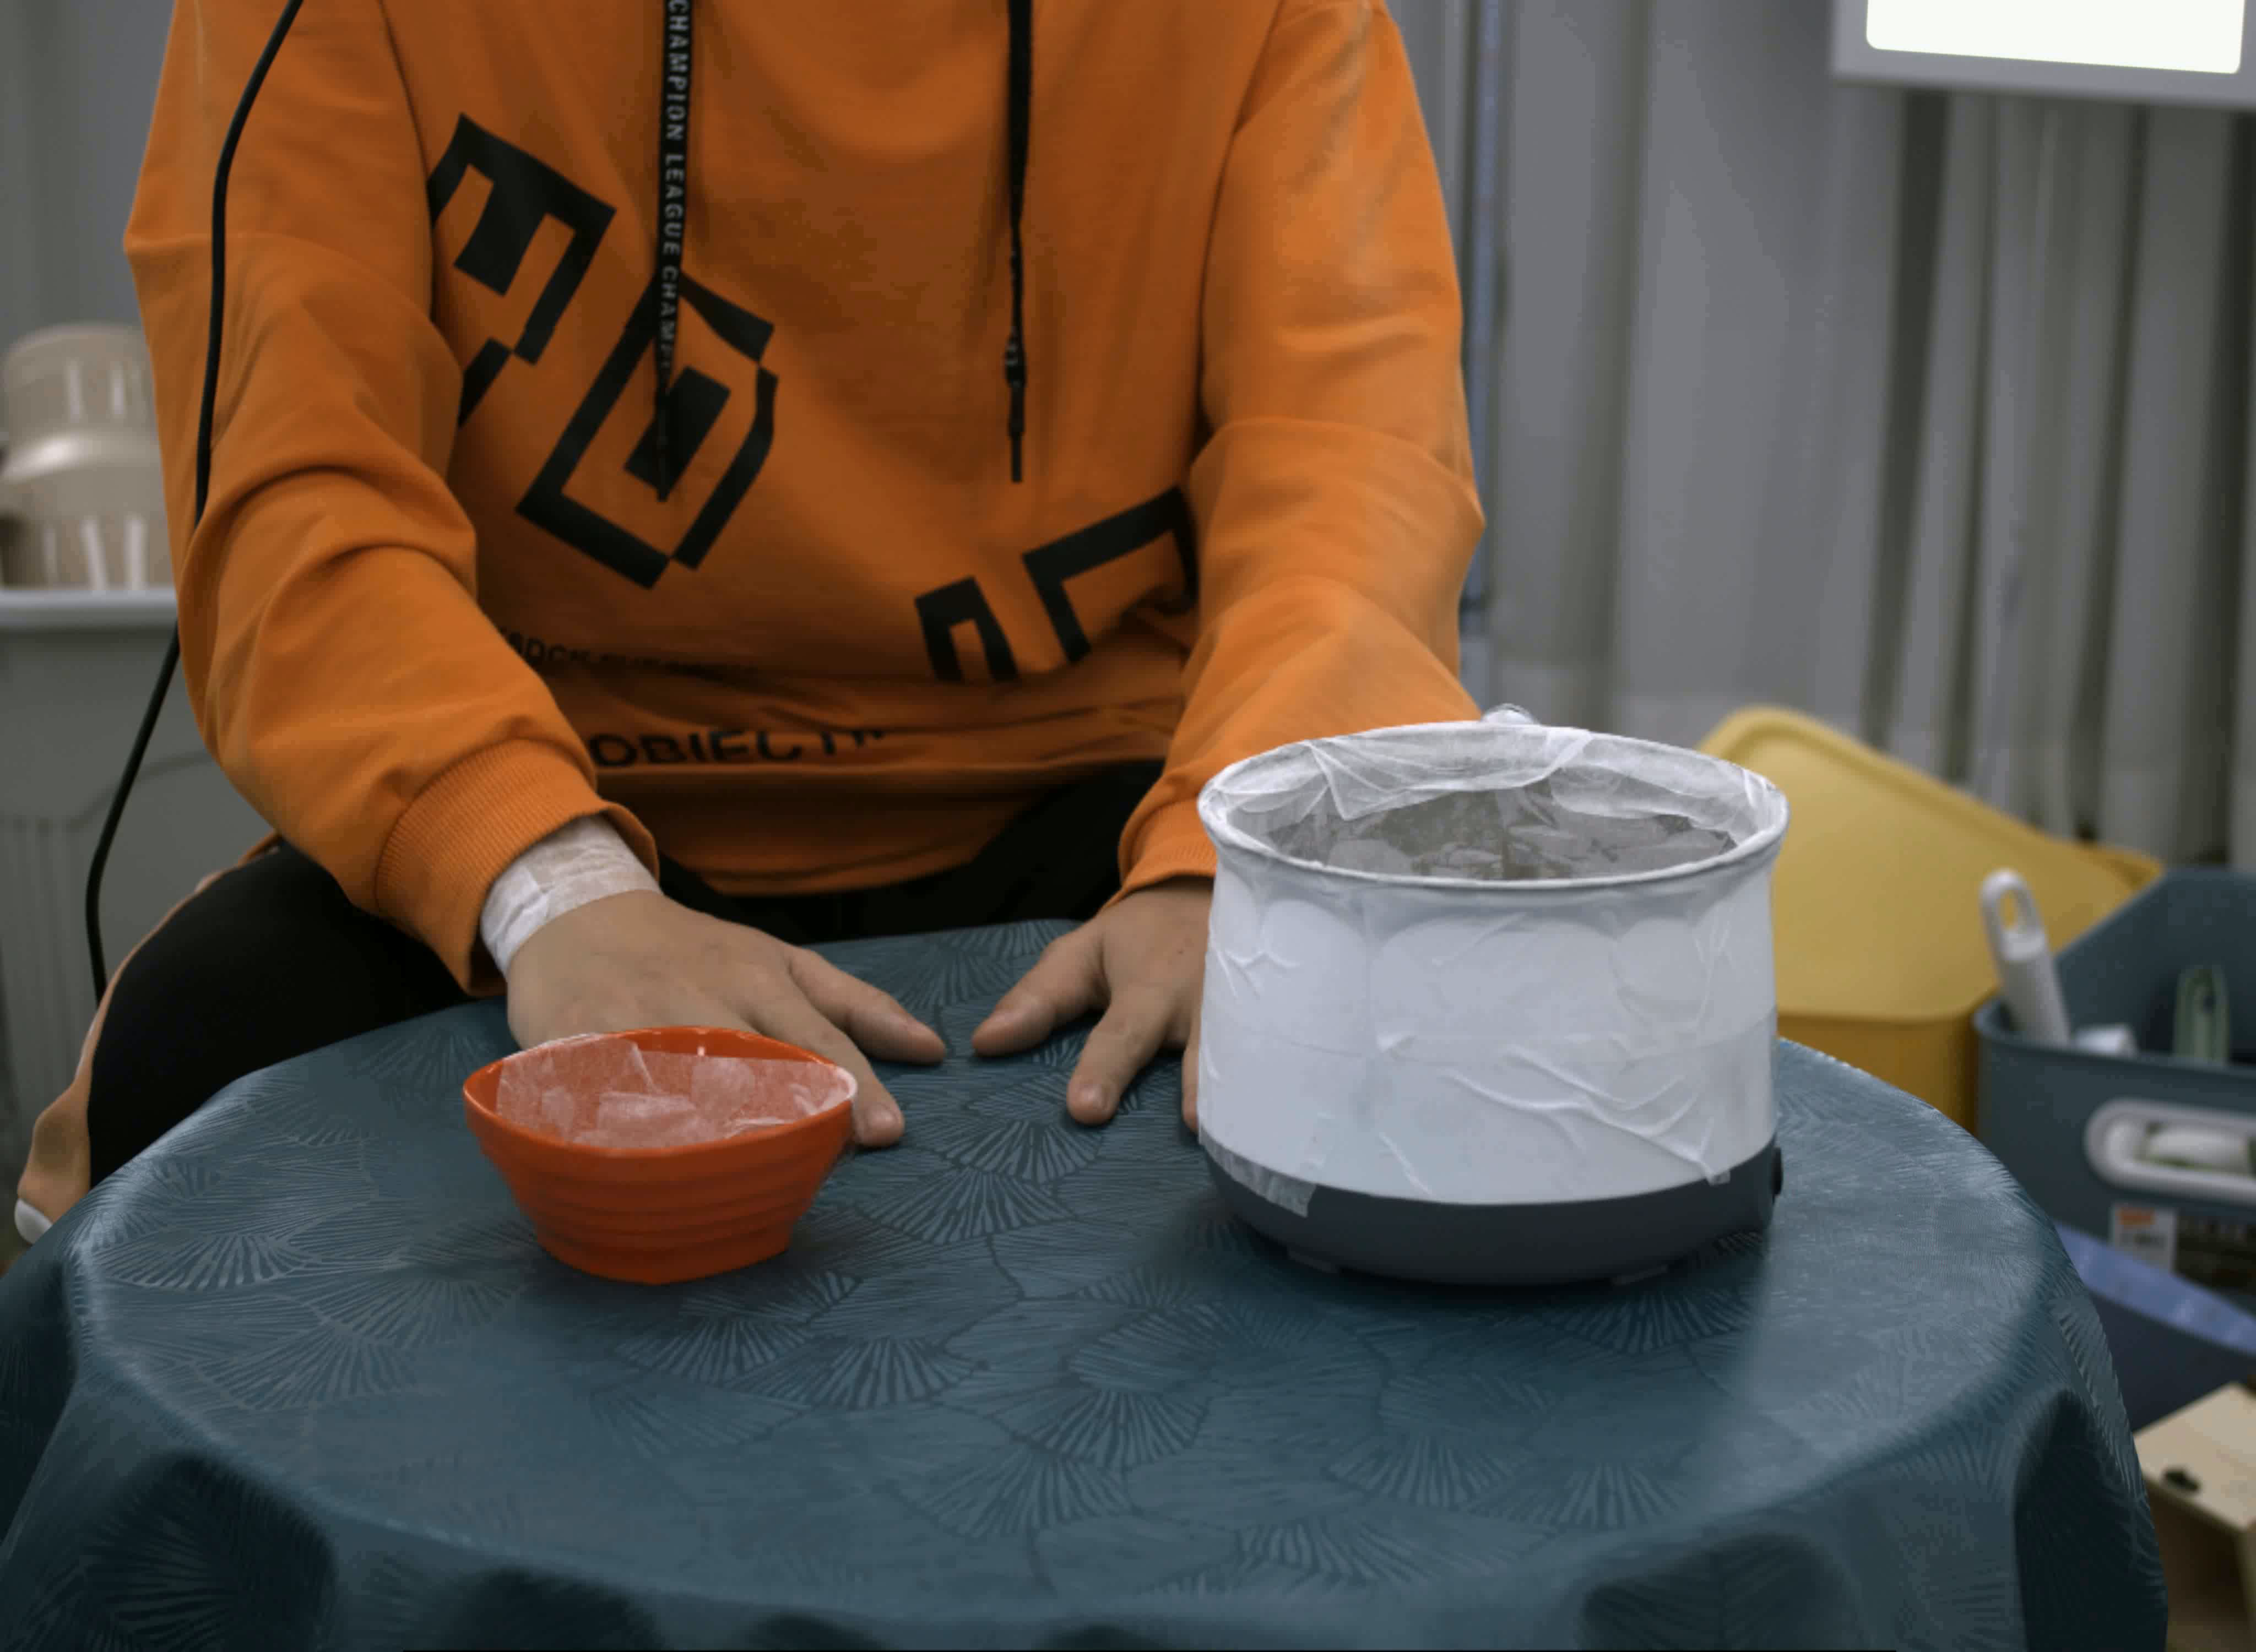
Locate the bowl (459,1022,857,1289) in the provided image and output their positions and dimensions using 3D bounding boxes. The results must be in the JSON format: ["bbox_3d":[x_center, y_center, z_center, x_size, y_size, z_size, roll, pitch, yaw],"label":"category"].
[{"bbox_3d":[-0.139,0.100,1.568,0.118,0.052,0.118,0,17,1],"label":"bowl"}]

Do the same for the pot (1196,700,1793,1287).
[{"bbox_3d":[0.111,0.046,1.608,0.178,0.138,0.233,2,16,4],"label":"pot"}]
